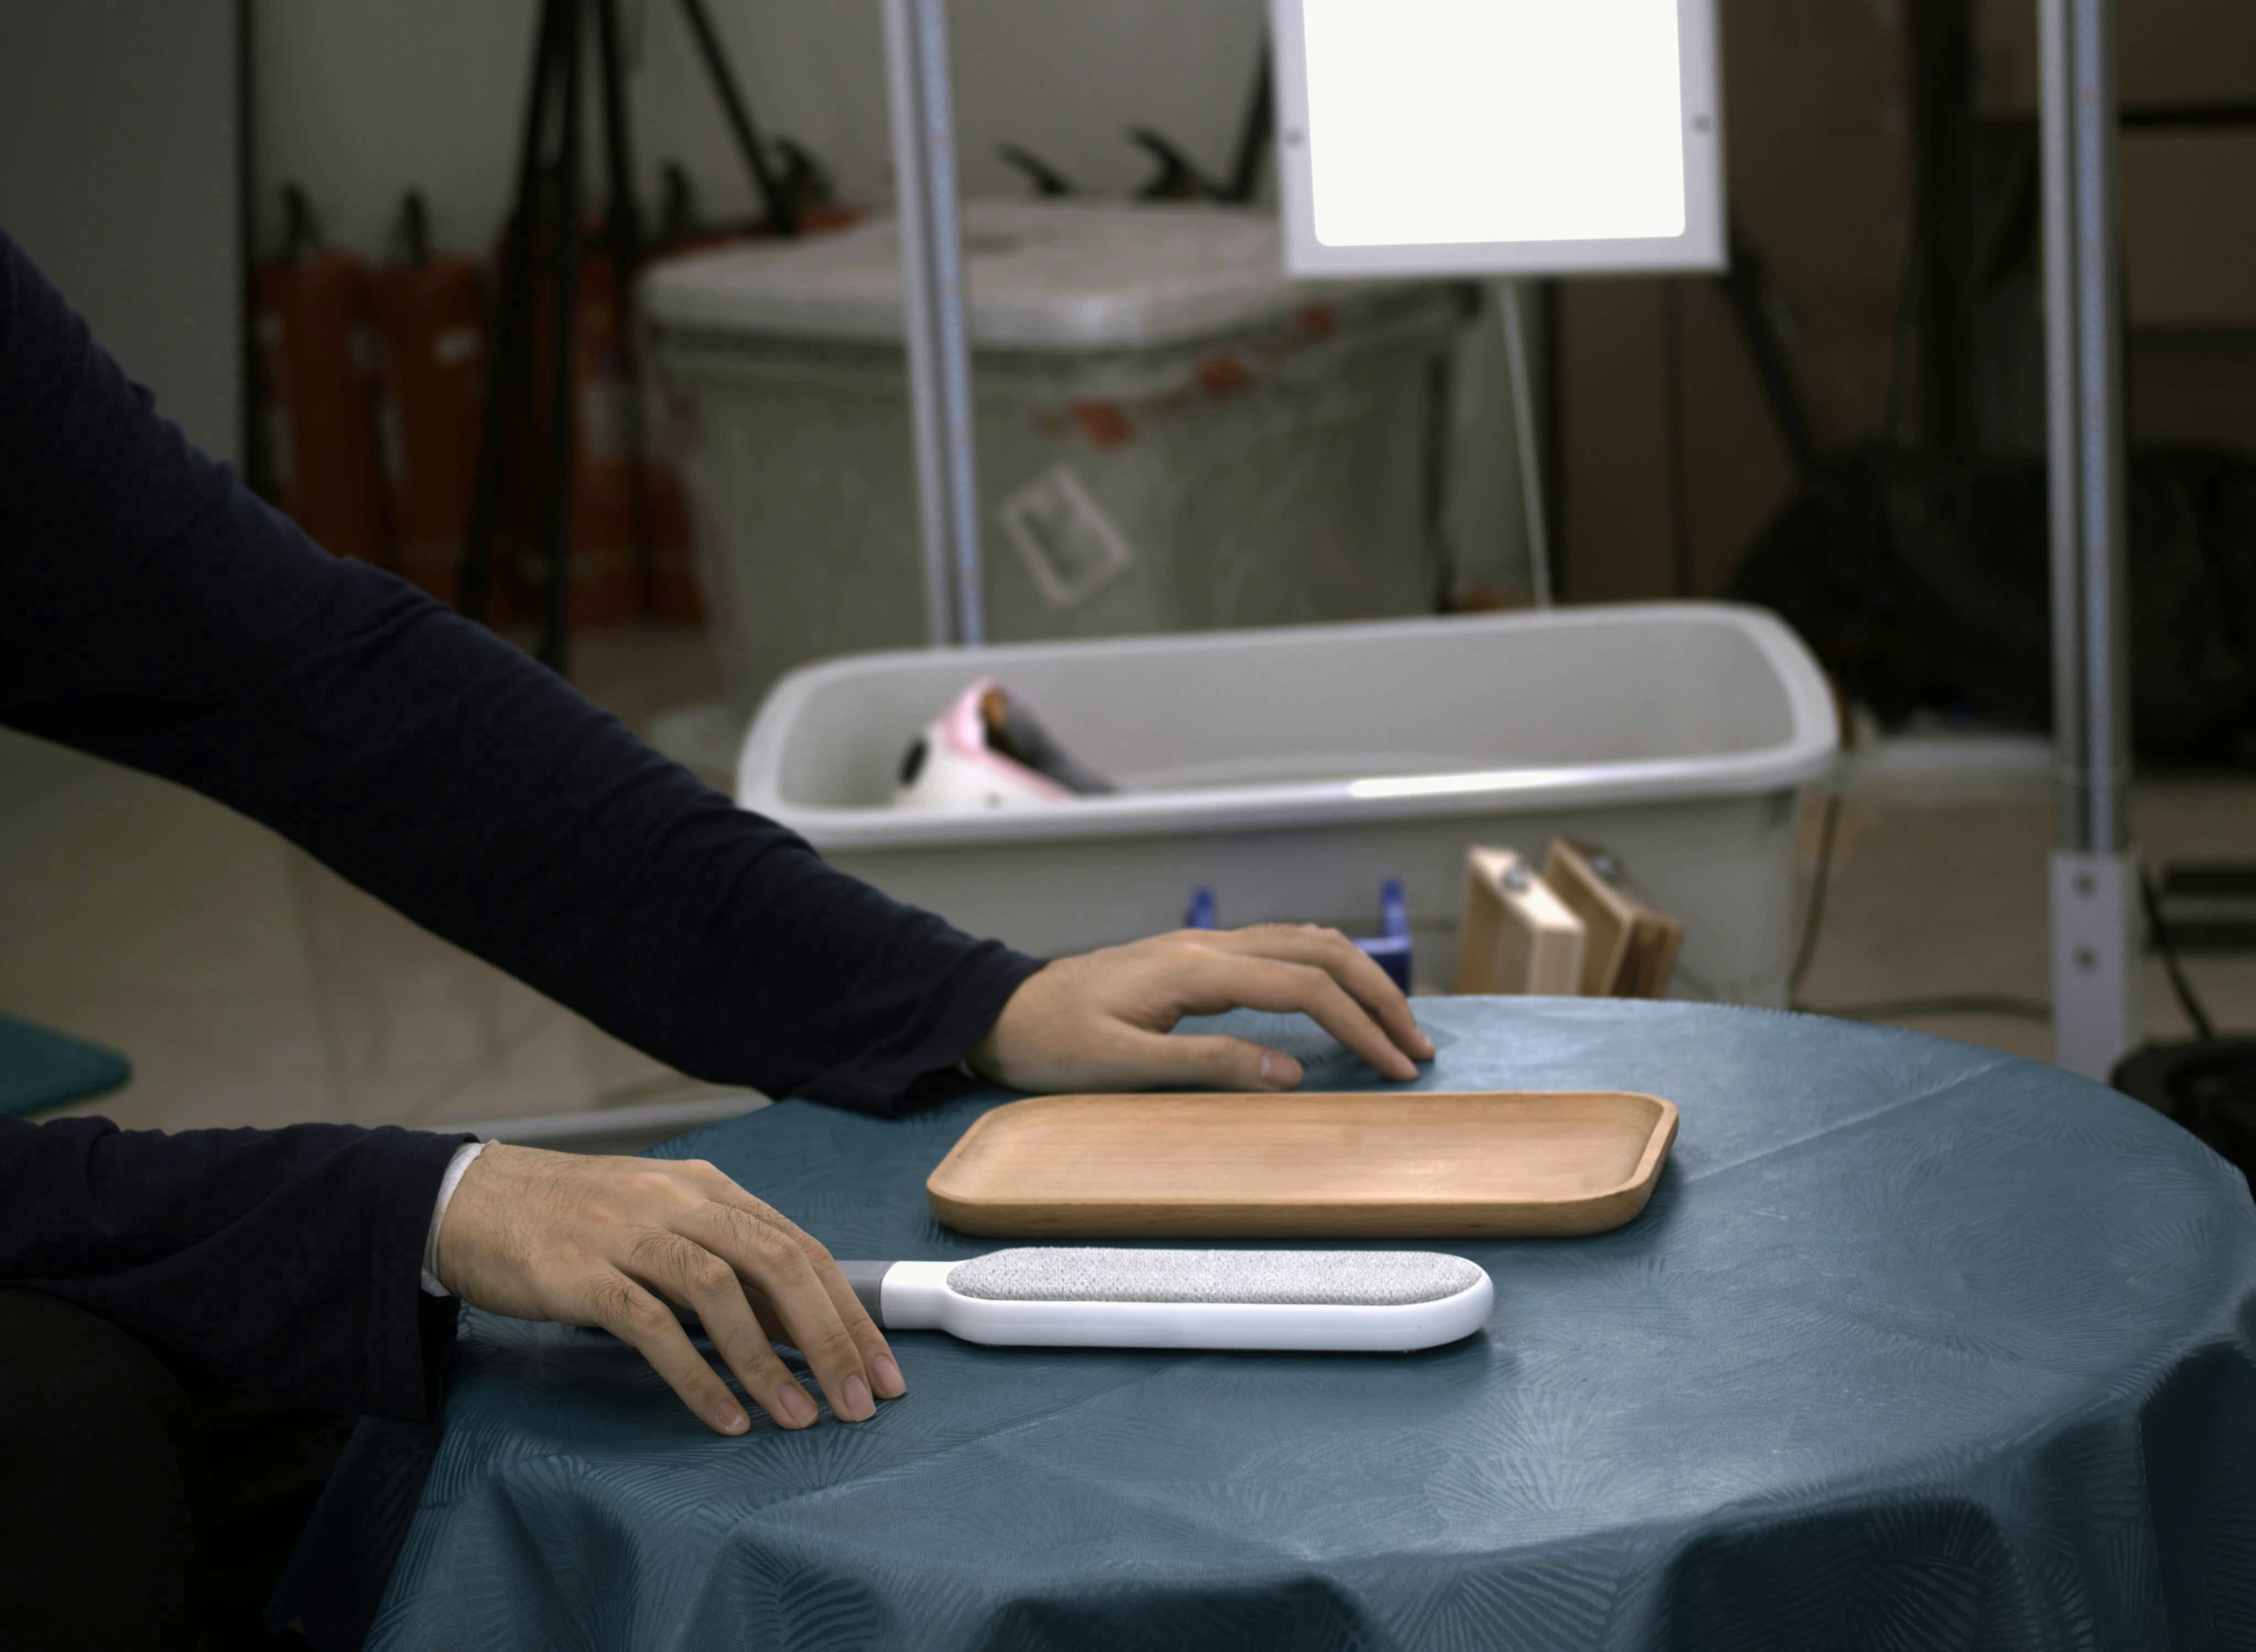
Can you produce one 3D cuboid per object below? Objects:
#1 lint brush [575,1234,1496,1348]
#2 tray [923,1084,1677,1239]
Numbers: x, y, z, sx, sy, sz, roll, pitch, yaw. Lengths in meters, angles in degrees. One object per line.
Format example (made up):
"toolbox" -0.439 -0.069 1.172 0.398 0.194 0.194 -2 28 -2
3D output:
"lint brush" -0.034 0.148 1.772 0.312 0.021 0.059 0 19 19
"tray" 0.060 0.115 1.893 0.253 0.023 0.128 -1 12 18
